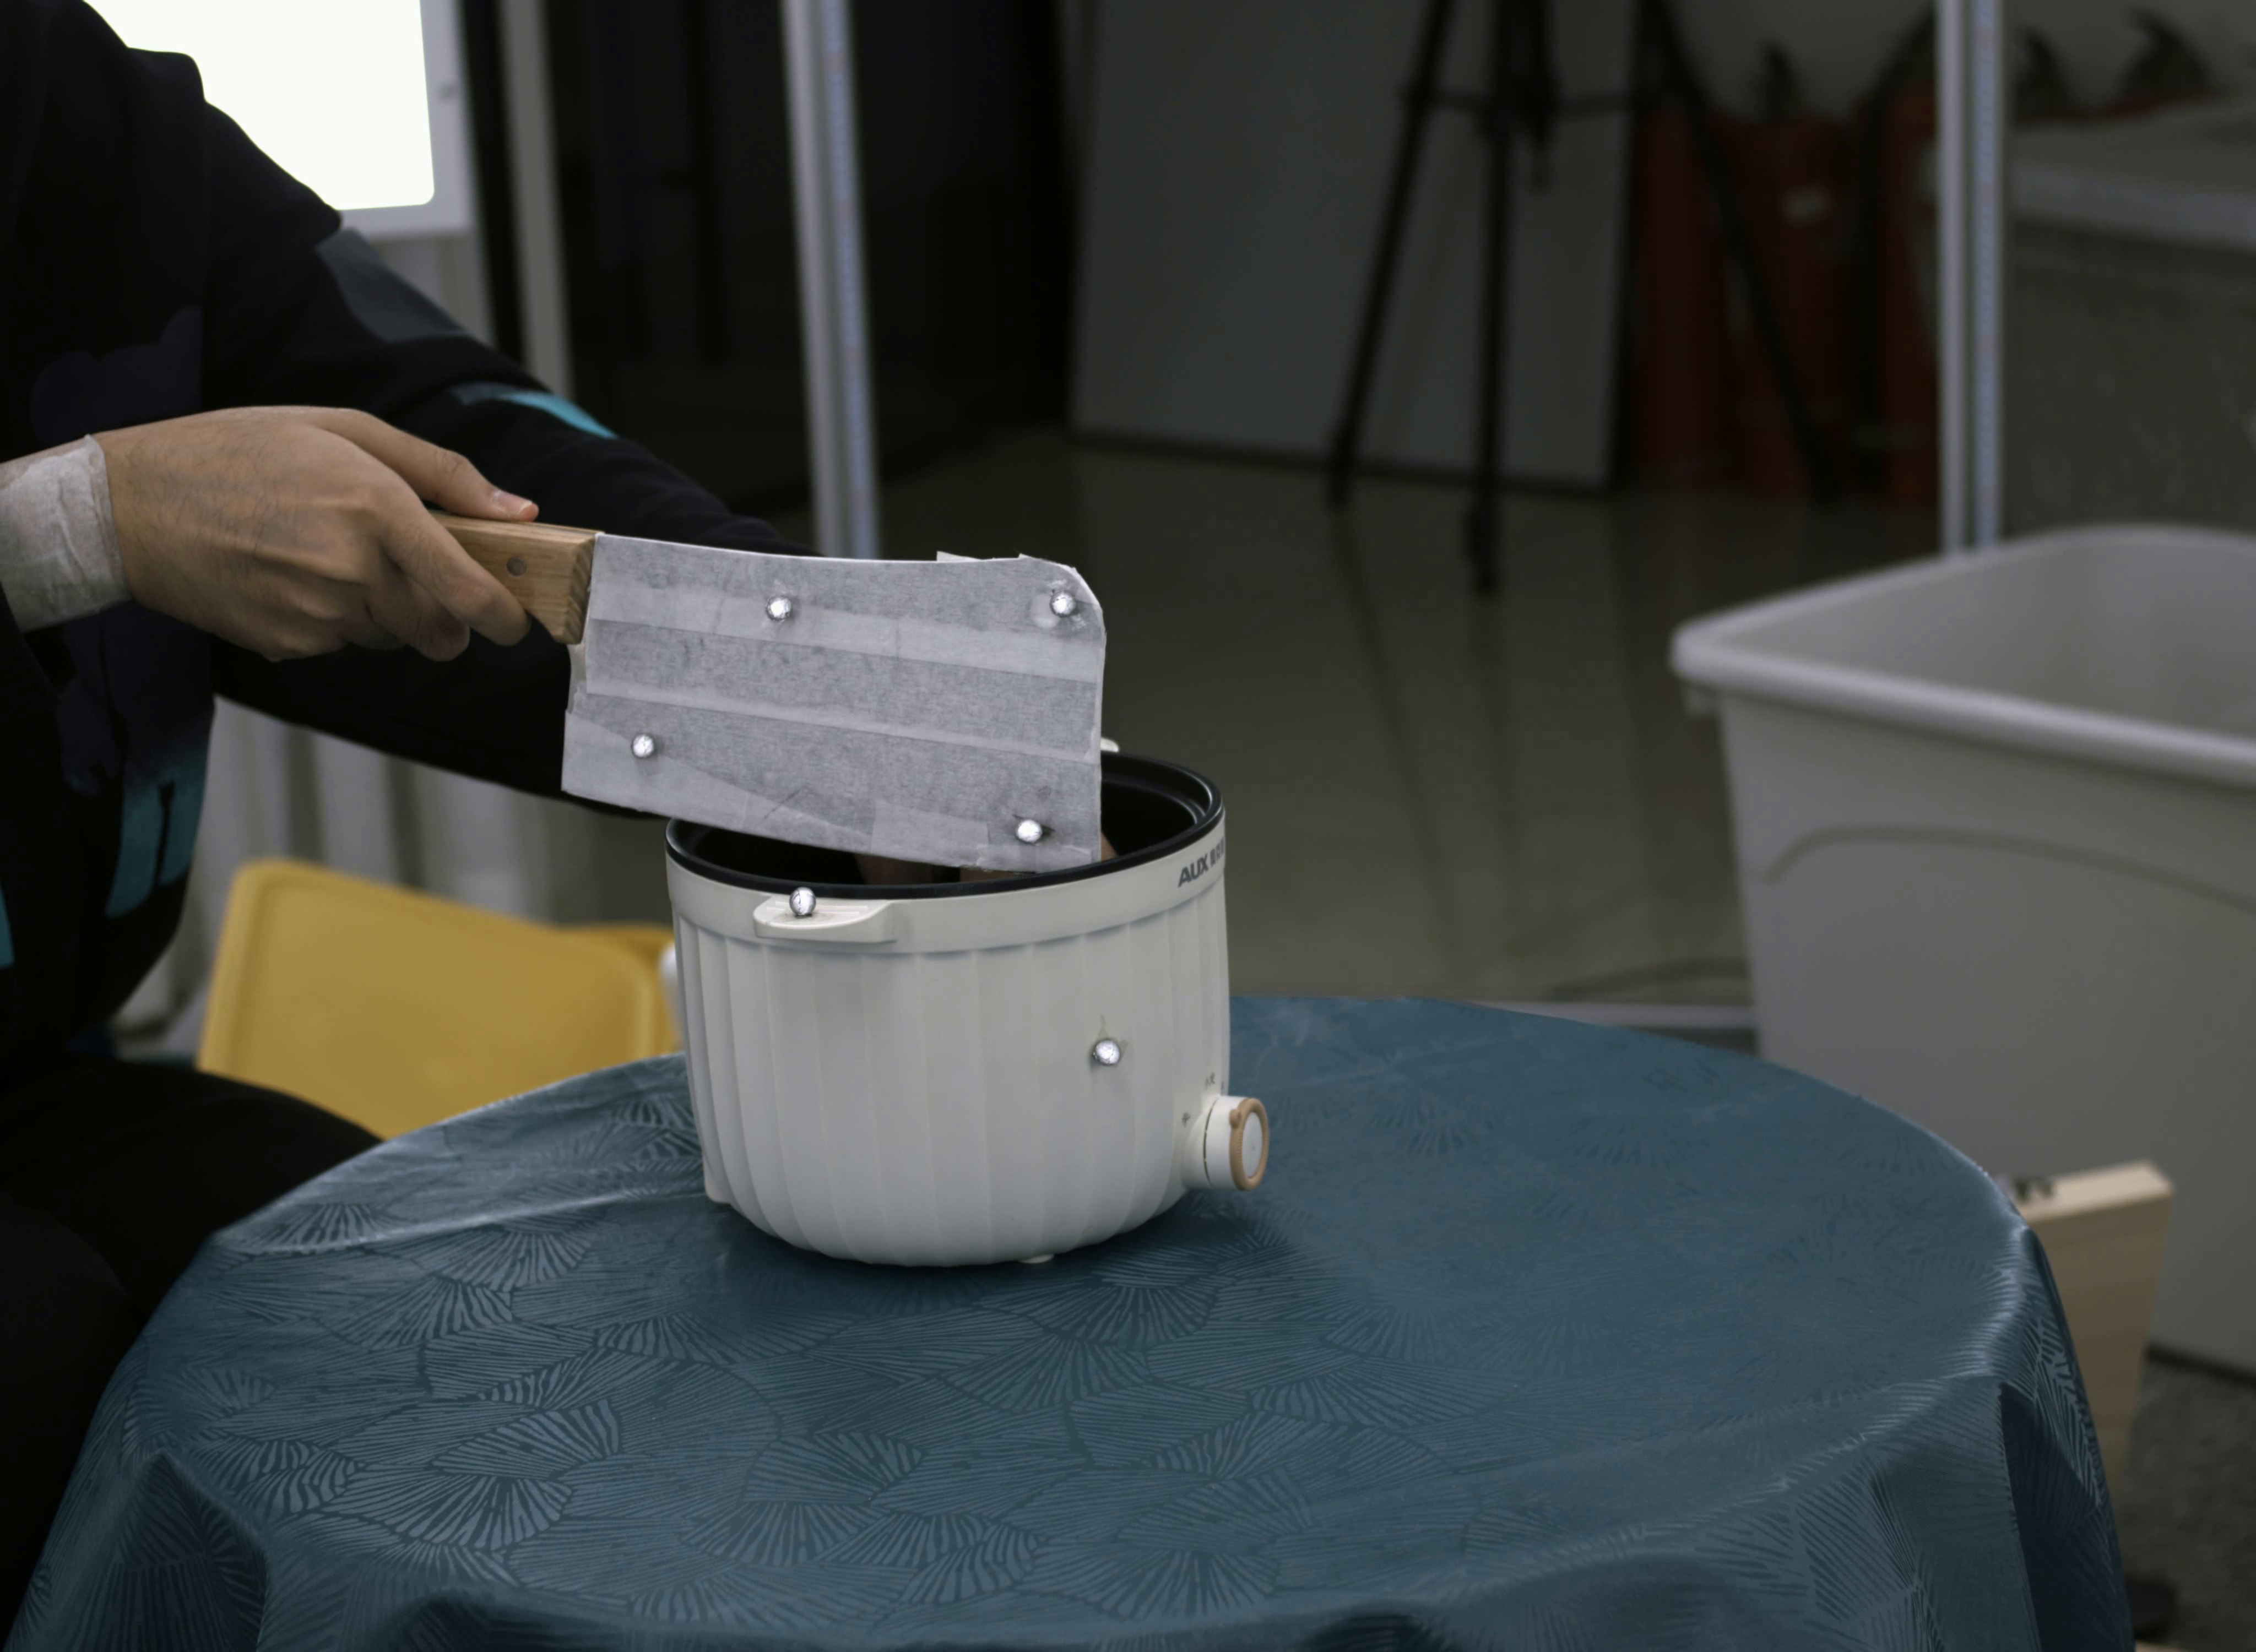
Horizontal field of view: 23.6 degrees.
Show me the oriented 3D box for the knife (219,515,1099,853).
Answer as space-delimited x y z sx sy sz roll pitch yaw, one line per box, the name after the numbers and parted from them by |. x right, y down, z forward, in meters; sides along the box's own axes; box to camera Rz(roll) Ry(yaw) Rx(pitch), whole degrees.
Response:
-0.148 -0.059 1.710 0.315 0.115 0.021 12 11 20 | knife

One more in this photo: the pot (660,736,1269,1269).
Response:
-0.050 0.059 1.745 0.190 0.144 0.238 -2 14 23 | pot
